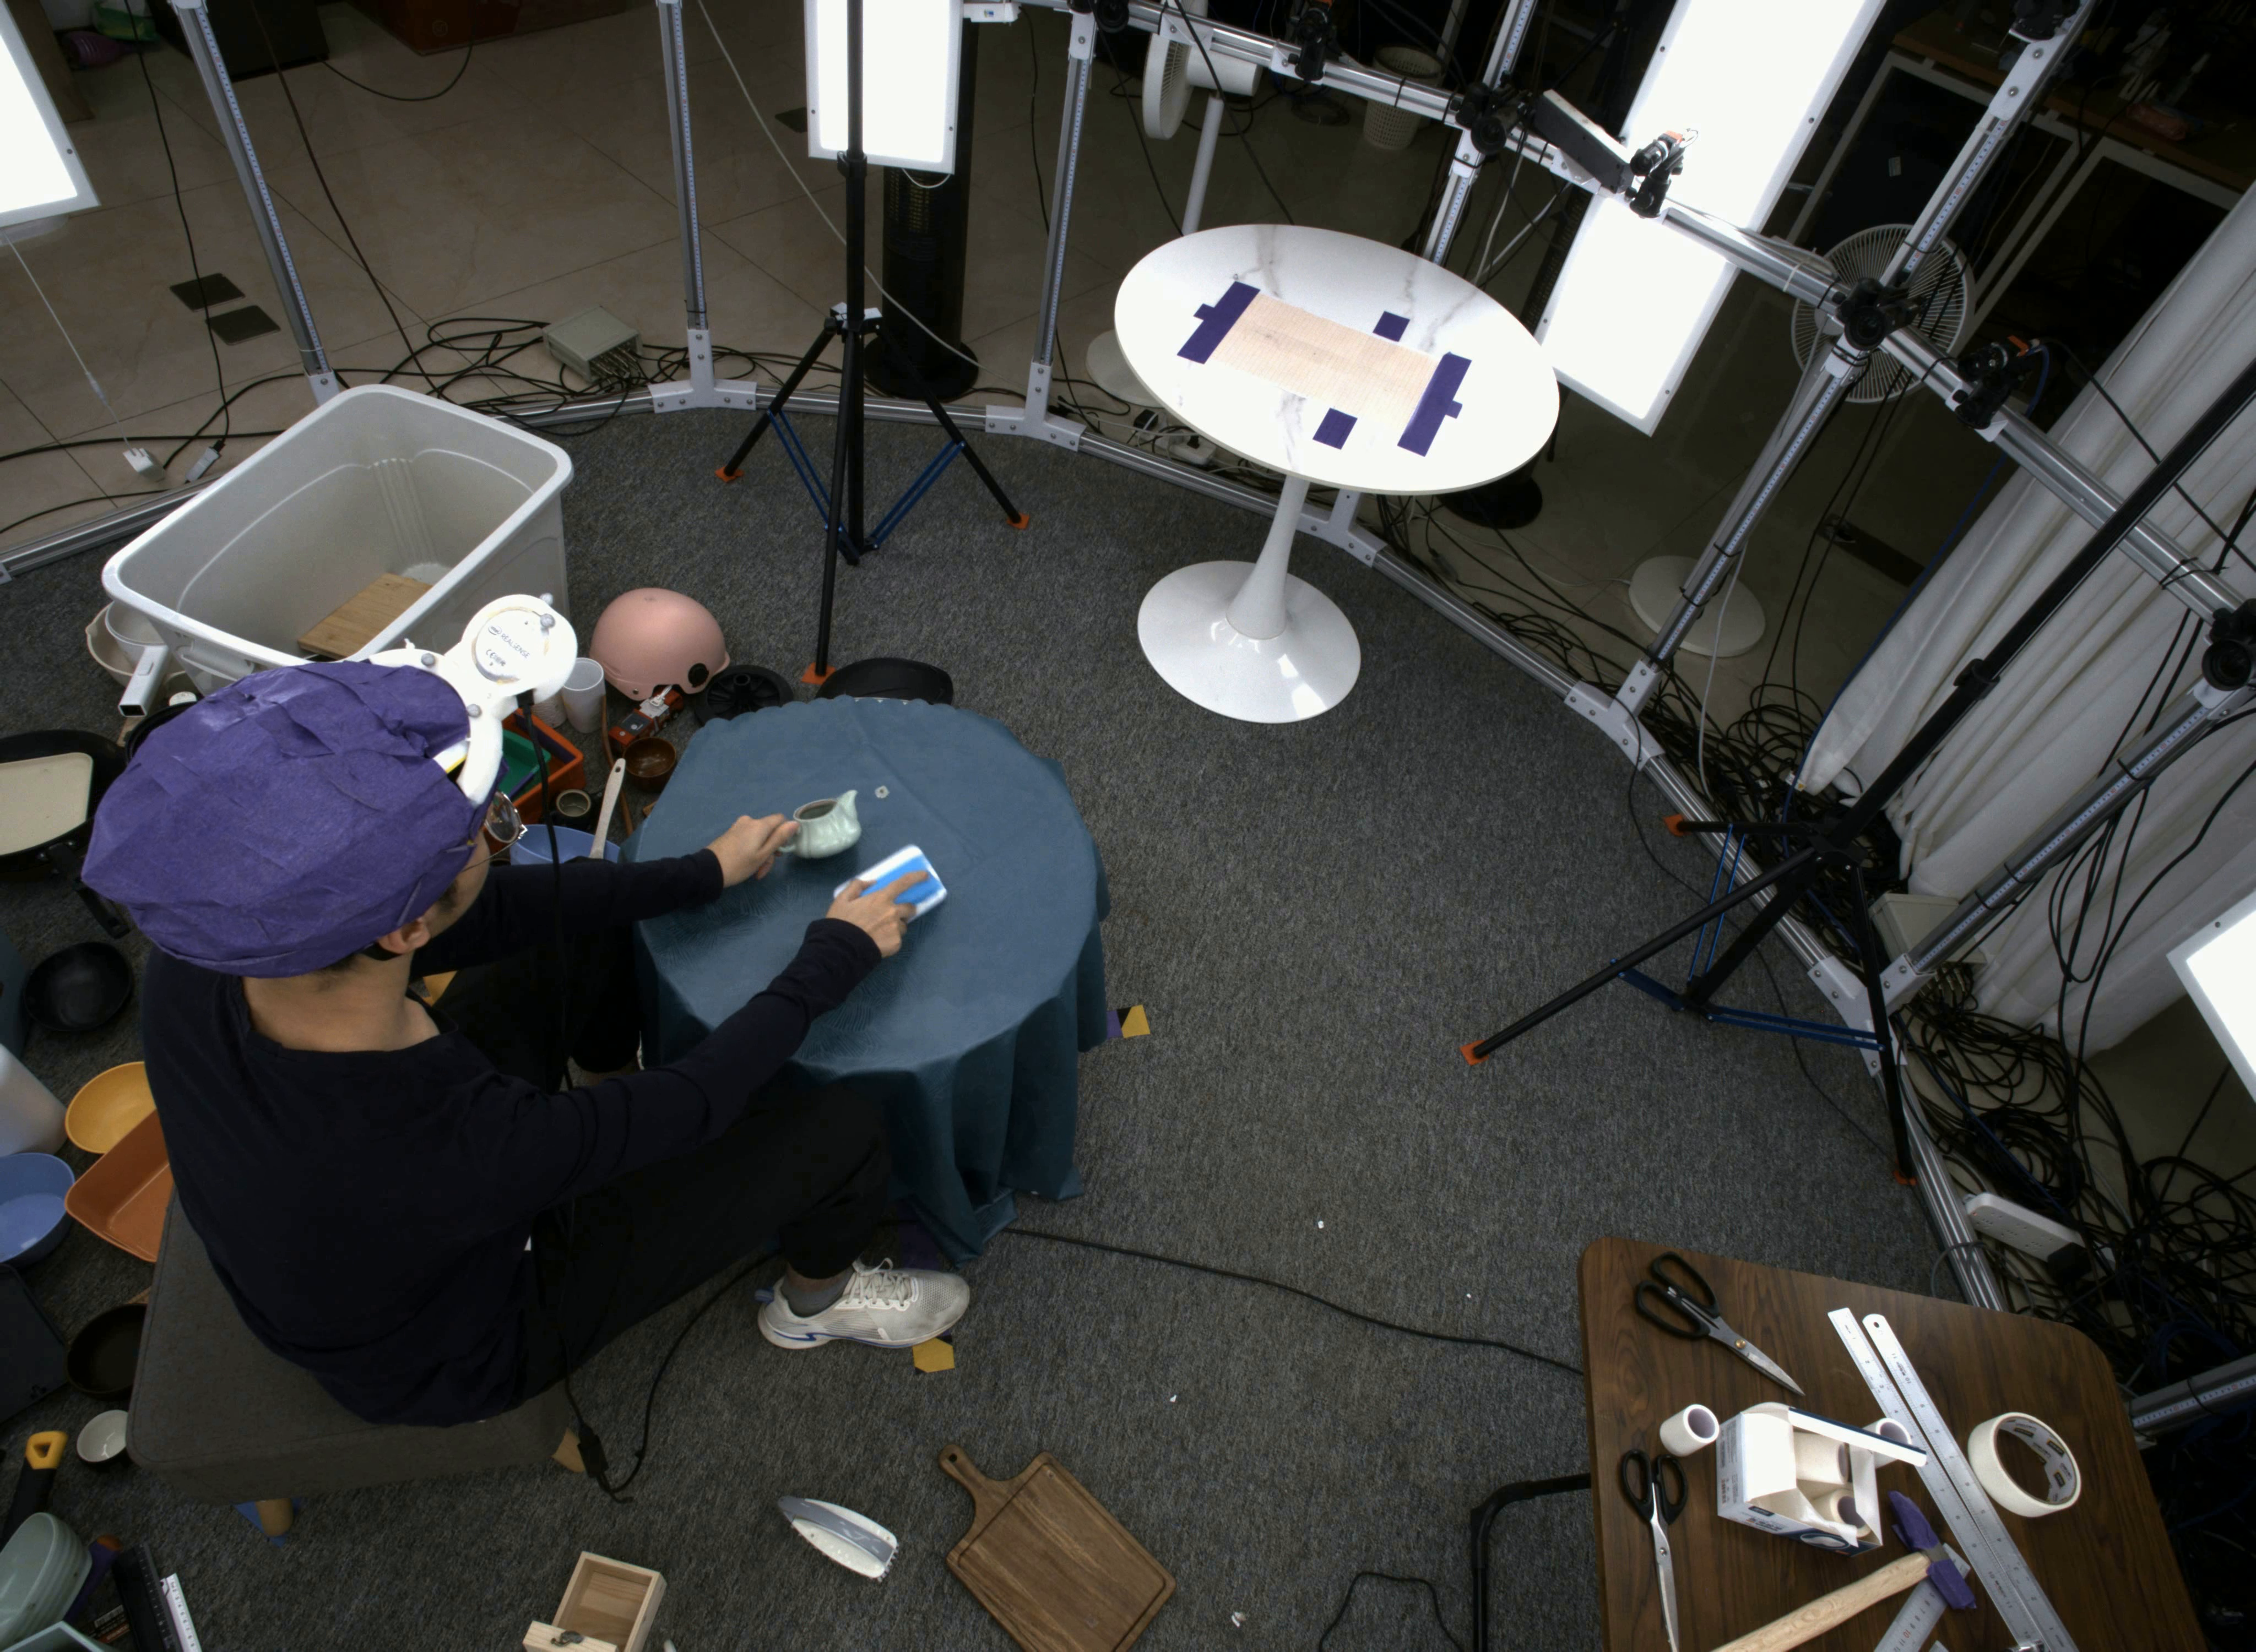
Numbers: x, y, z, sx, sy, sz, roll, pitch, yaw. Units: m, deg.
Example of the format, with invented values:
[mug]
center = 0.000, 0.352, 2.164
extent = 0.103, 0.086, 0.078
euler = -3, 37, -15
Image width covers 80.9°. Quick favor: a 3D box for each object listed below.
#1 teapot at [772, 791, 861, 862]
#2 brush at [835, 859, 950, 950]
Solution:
[teapot]
center = -0.399, 0.006, 1.675
extent = 0.092, 0.063, 0.137
euler = 20, 36, 38
[brush]
center = -0.292, 0.089, 1.633
extent = 0.145, 0.056, 0.084
euler = -29, 83, -38
